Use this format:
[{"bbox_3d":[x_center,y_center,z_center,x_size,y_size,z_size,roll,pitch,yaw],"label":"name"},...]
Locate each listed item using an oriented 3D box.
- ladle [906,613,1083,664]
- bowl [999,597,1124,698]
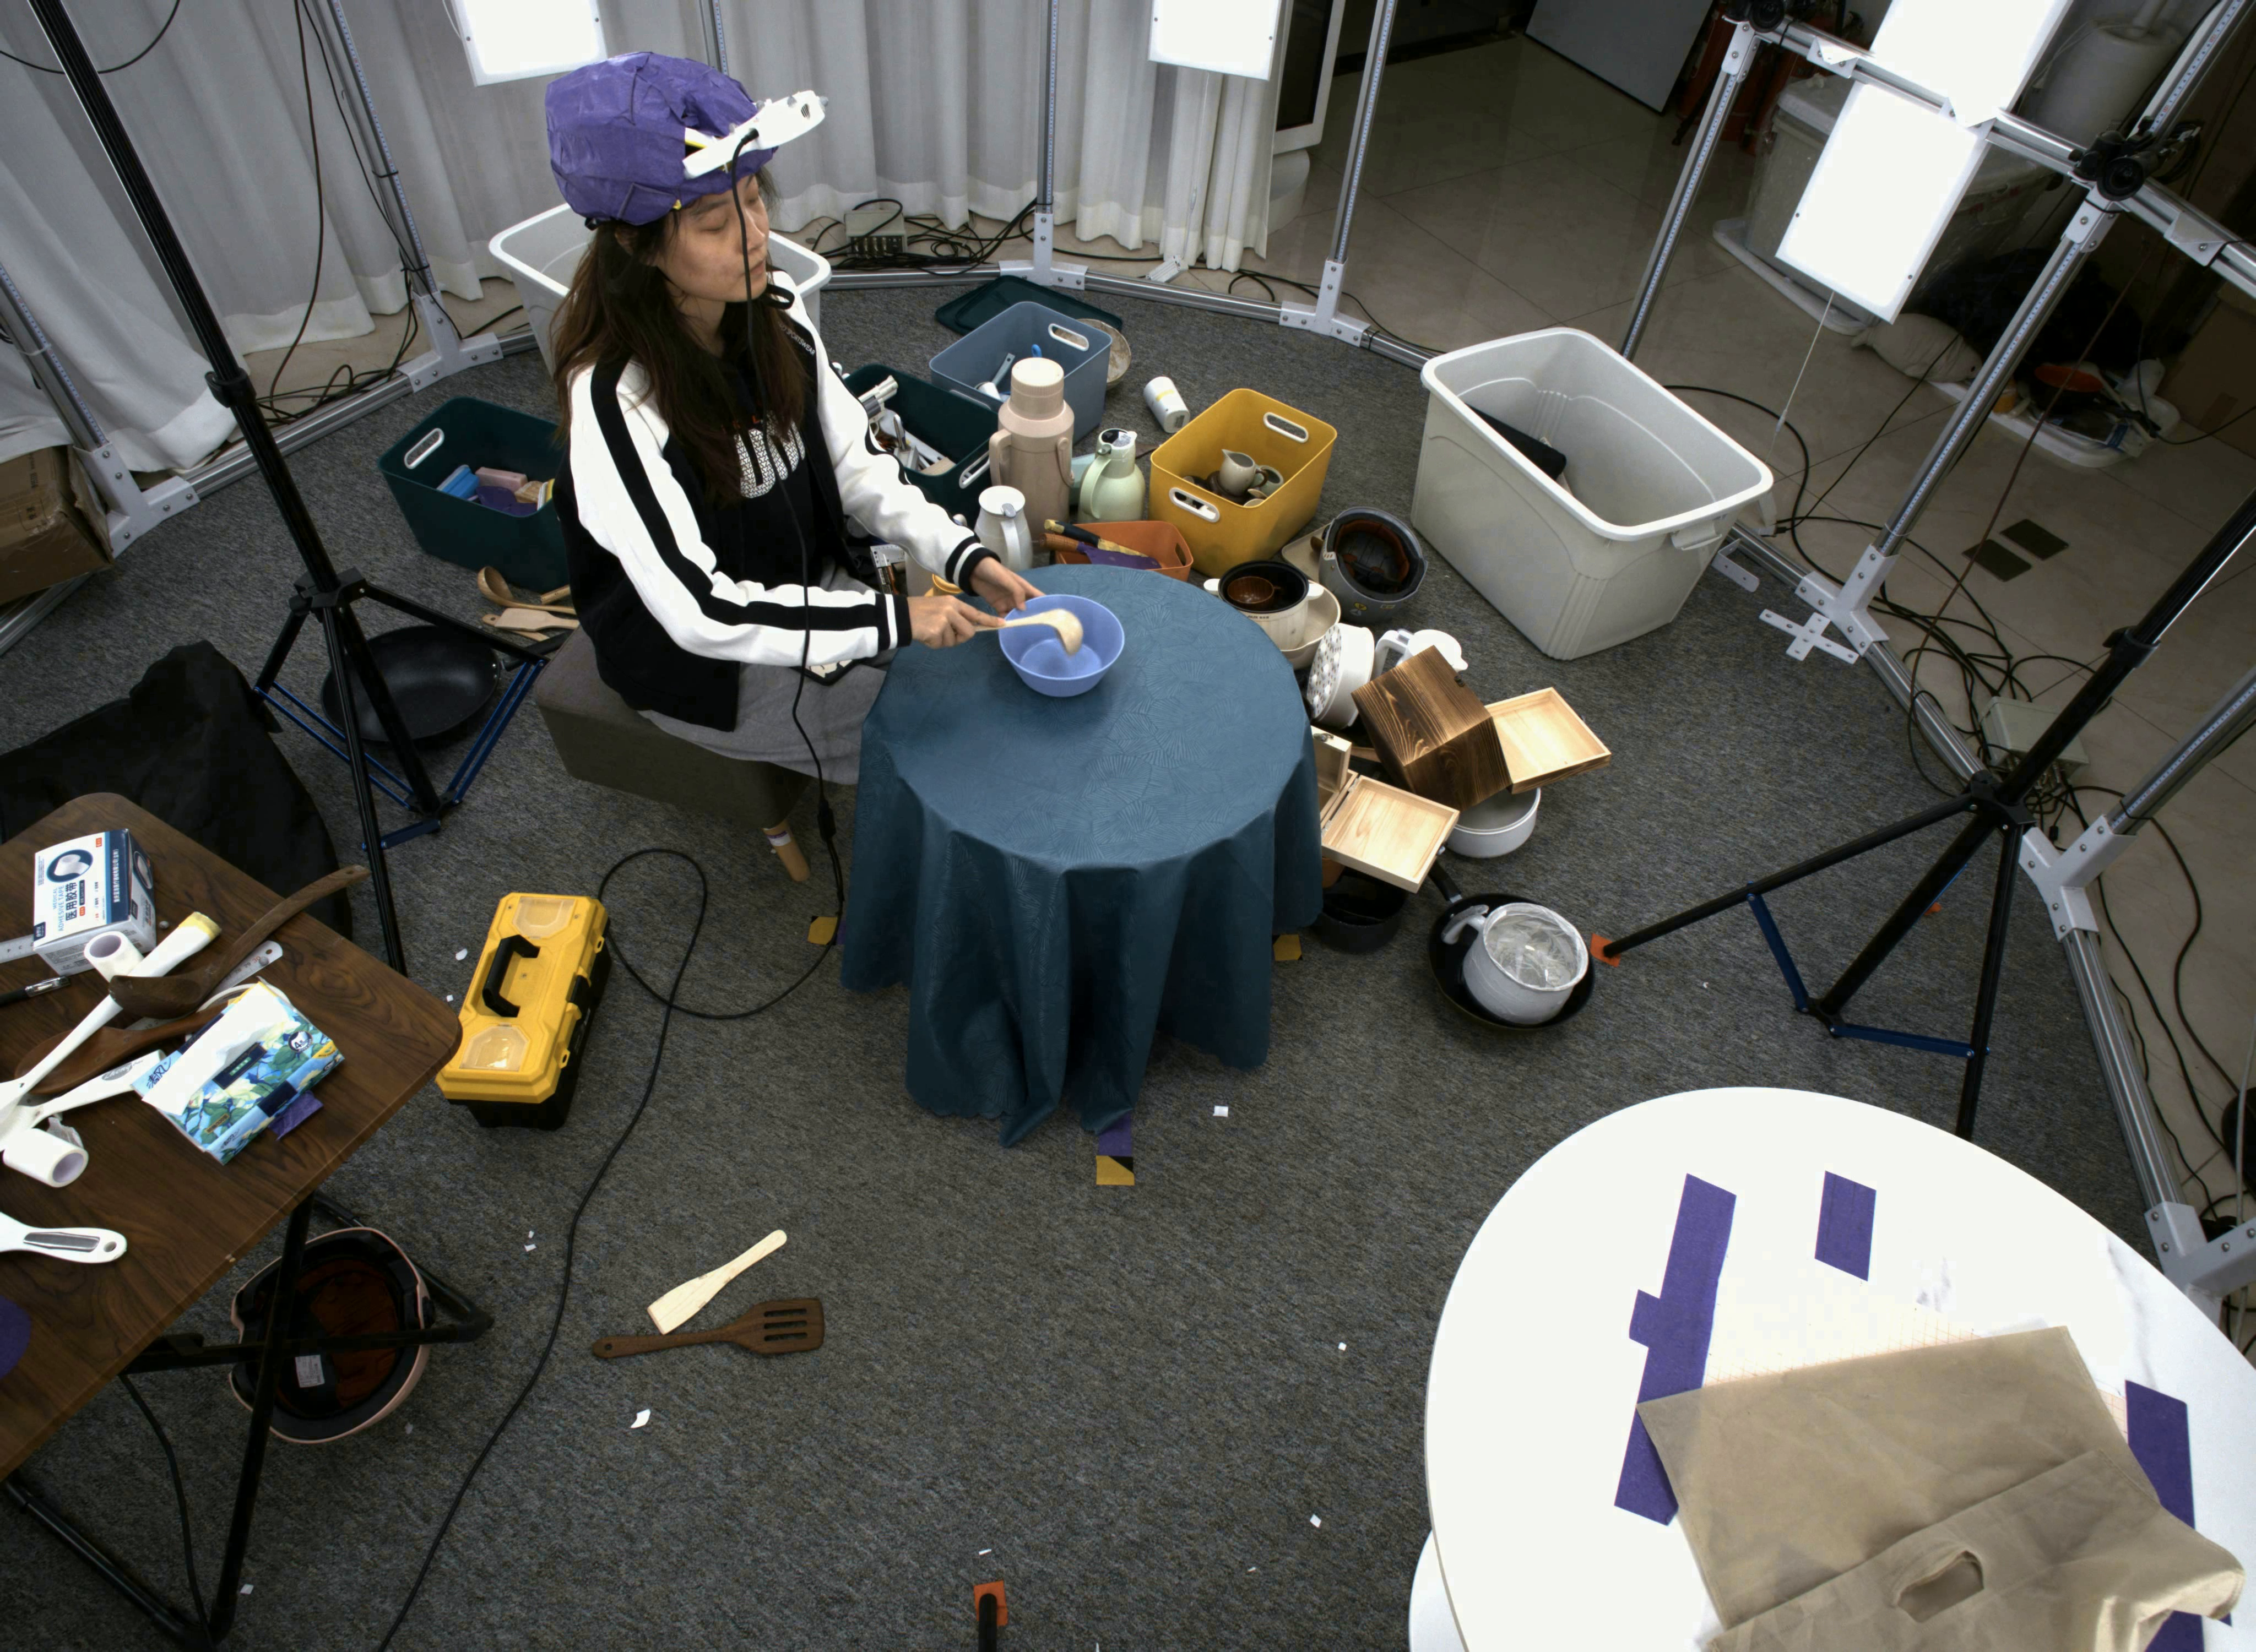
[{"bbox_3d":[-0.186,-0.256,1.782,0.254,0.071,0.074,-6,48,-23],"label":"ladle"},{"bbox_3d":[-0.095,-0.246,1.832,0.176,0.068,0.180,2,48,-3],"label":"bowl"}]
